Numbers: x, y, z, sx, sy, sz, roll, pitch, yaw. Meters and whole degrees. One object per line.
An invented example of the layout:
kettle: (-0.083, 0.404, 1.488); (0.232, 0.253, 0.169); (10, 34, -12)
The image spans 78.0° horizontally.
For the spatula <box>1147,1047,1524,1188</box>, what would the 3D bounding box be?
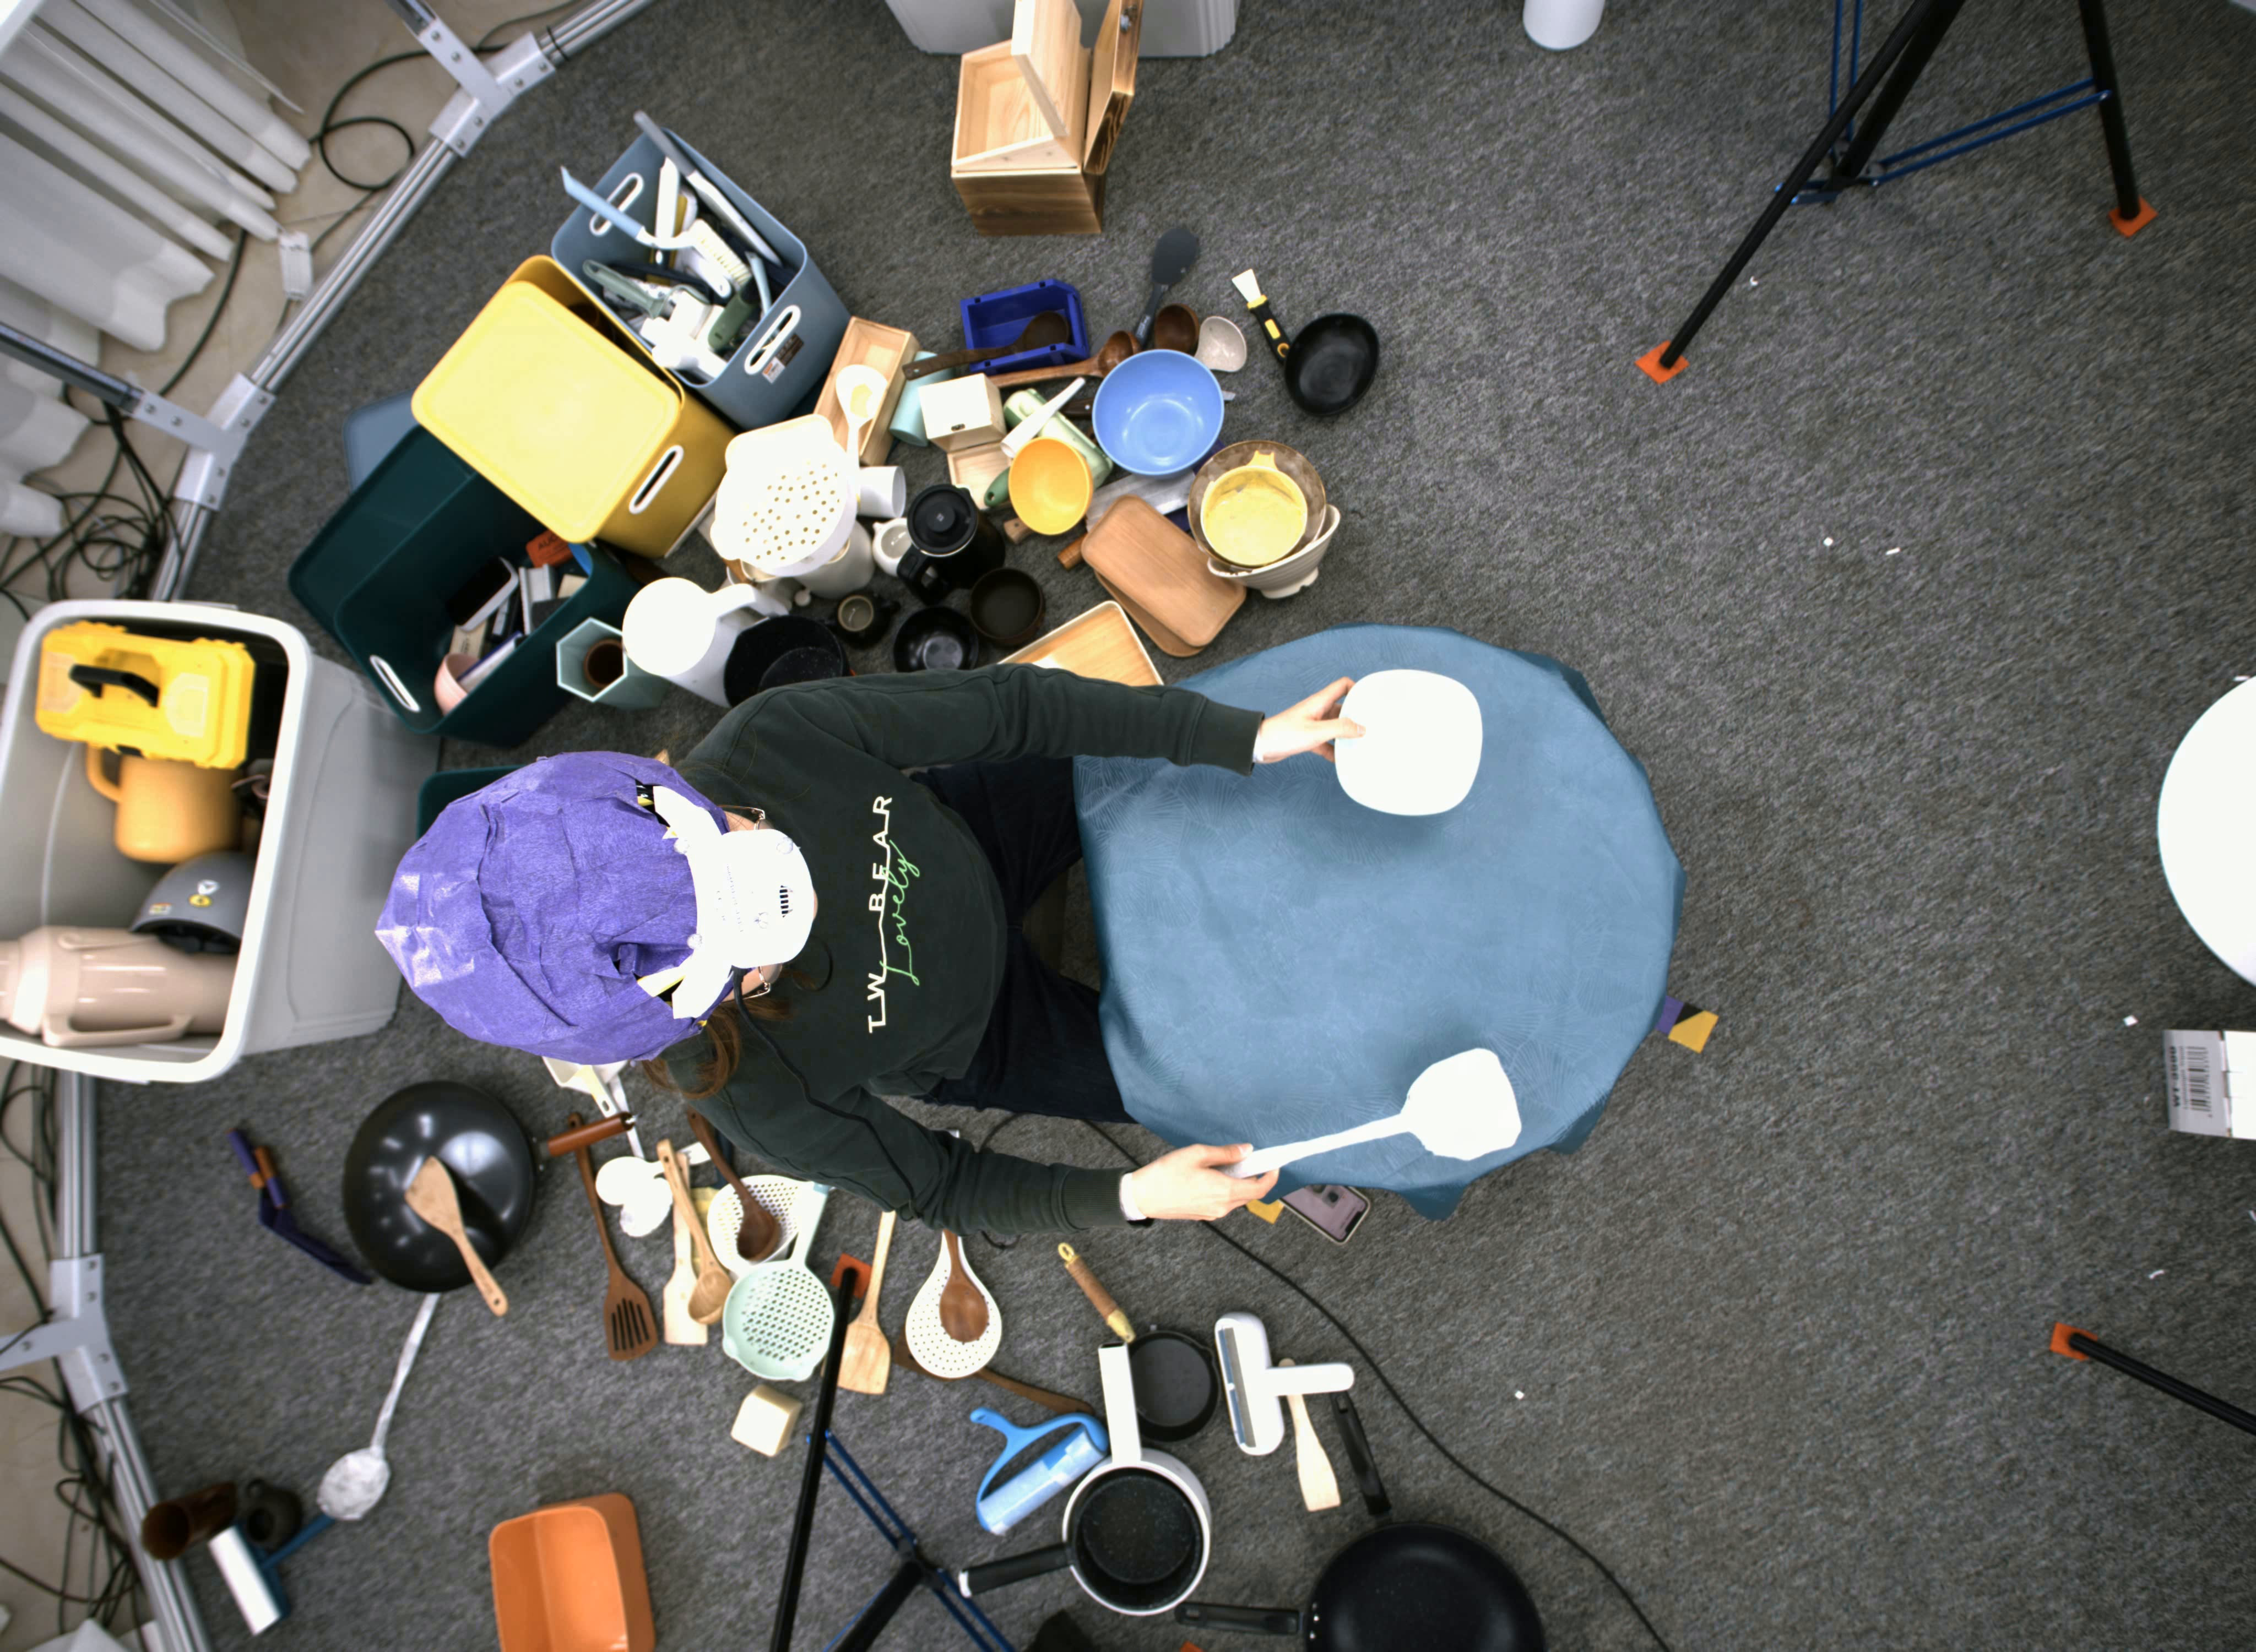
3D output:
spatula: (0.199, 0.295, 1.323); (0.364, 0.045, 0.097); (-12, 77, -7)

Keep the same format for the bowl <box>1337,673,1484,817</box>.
bowl: (0.277, -0.078, 1.349); (0.152, 0.058, 0.151); (0, 90, 14)
